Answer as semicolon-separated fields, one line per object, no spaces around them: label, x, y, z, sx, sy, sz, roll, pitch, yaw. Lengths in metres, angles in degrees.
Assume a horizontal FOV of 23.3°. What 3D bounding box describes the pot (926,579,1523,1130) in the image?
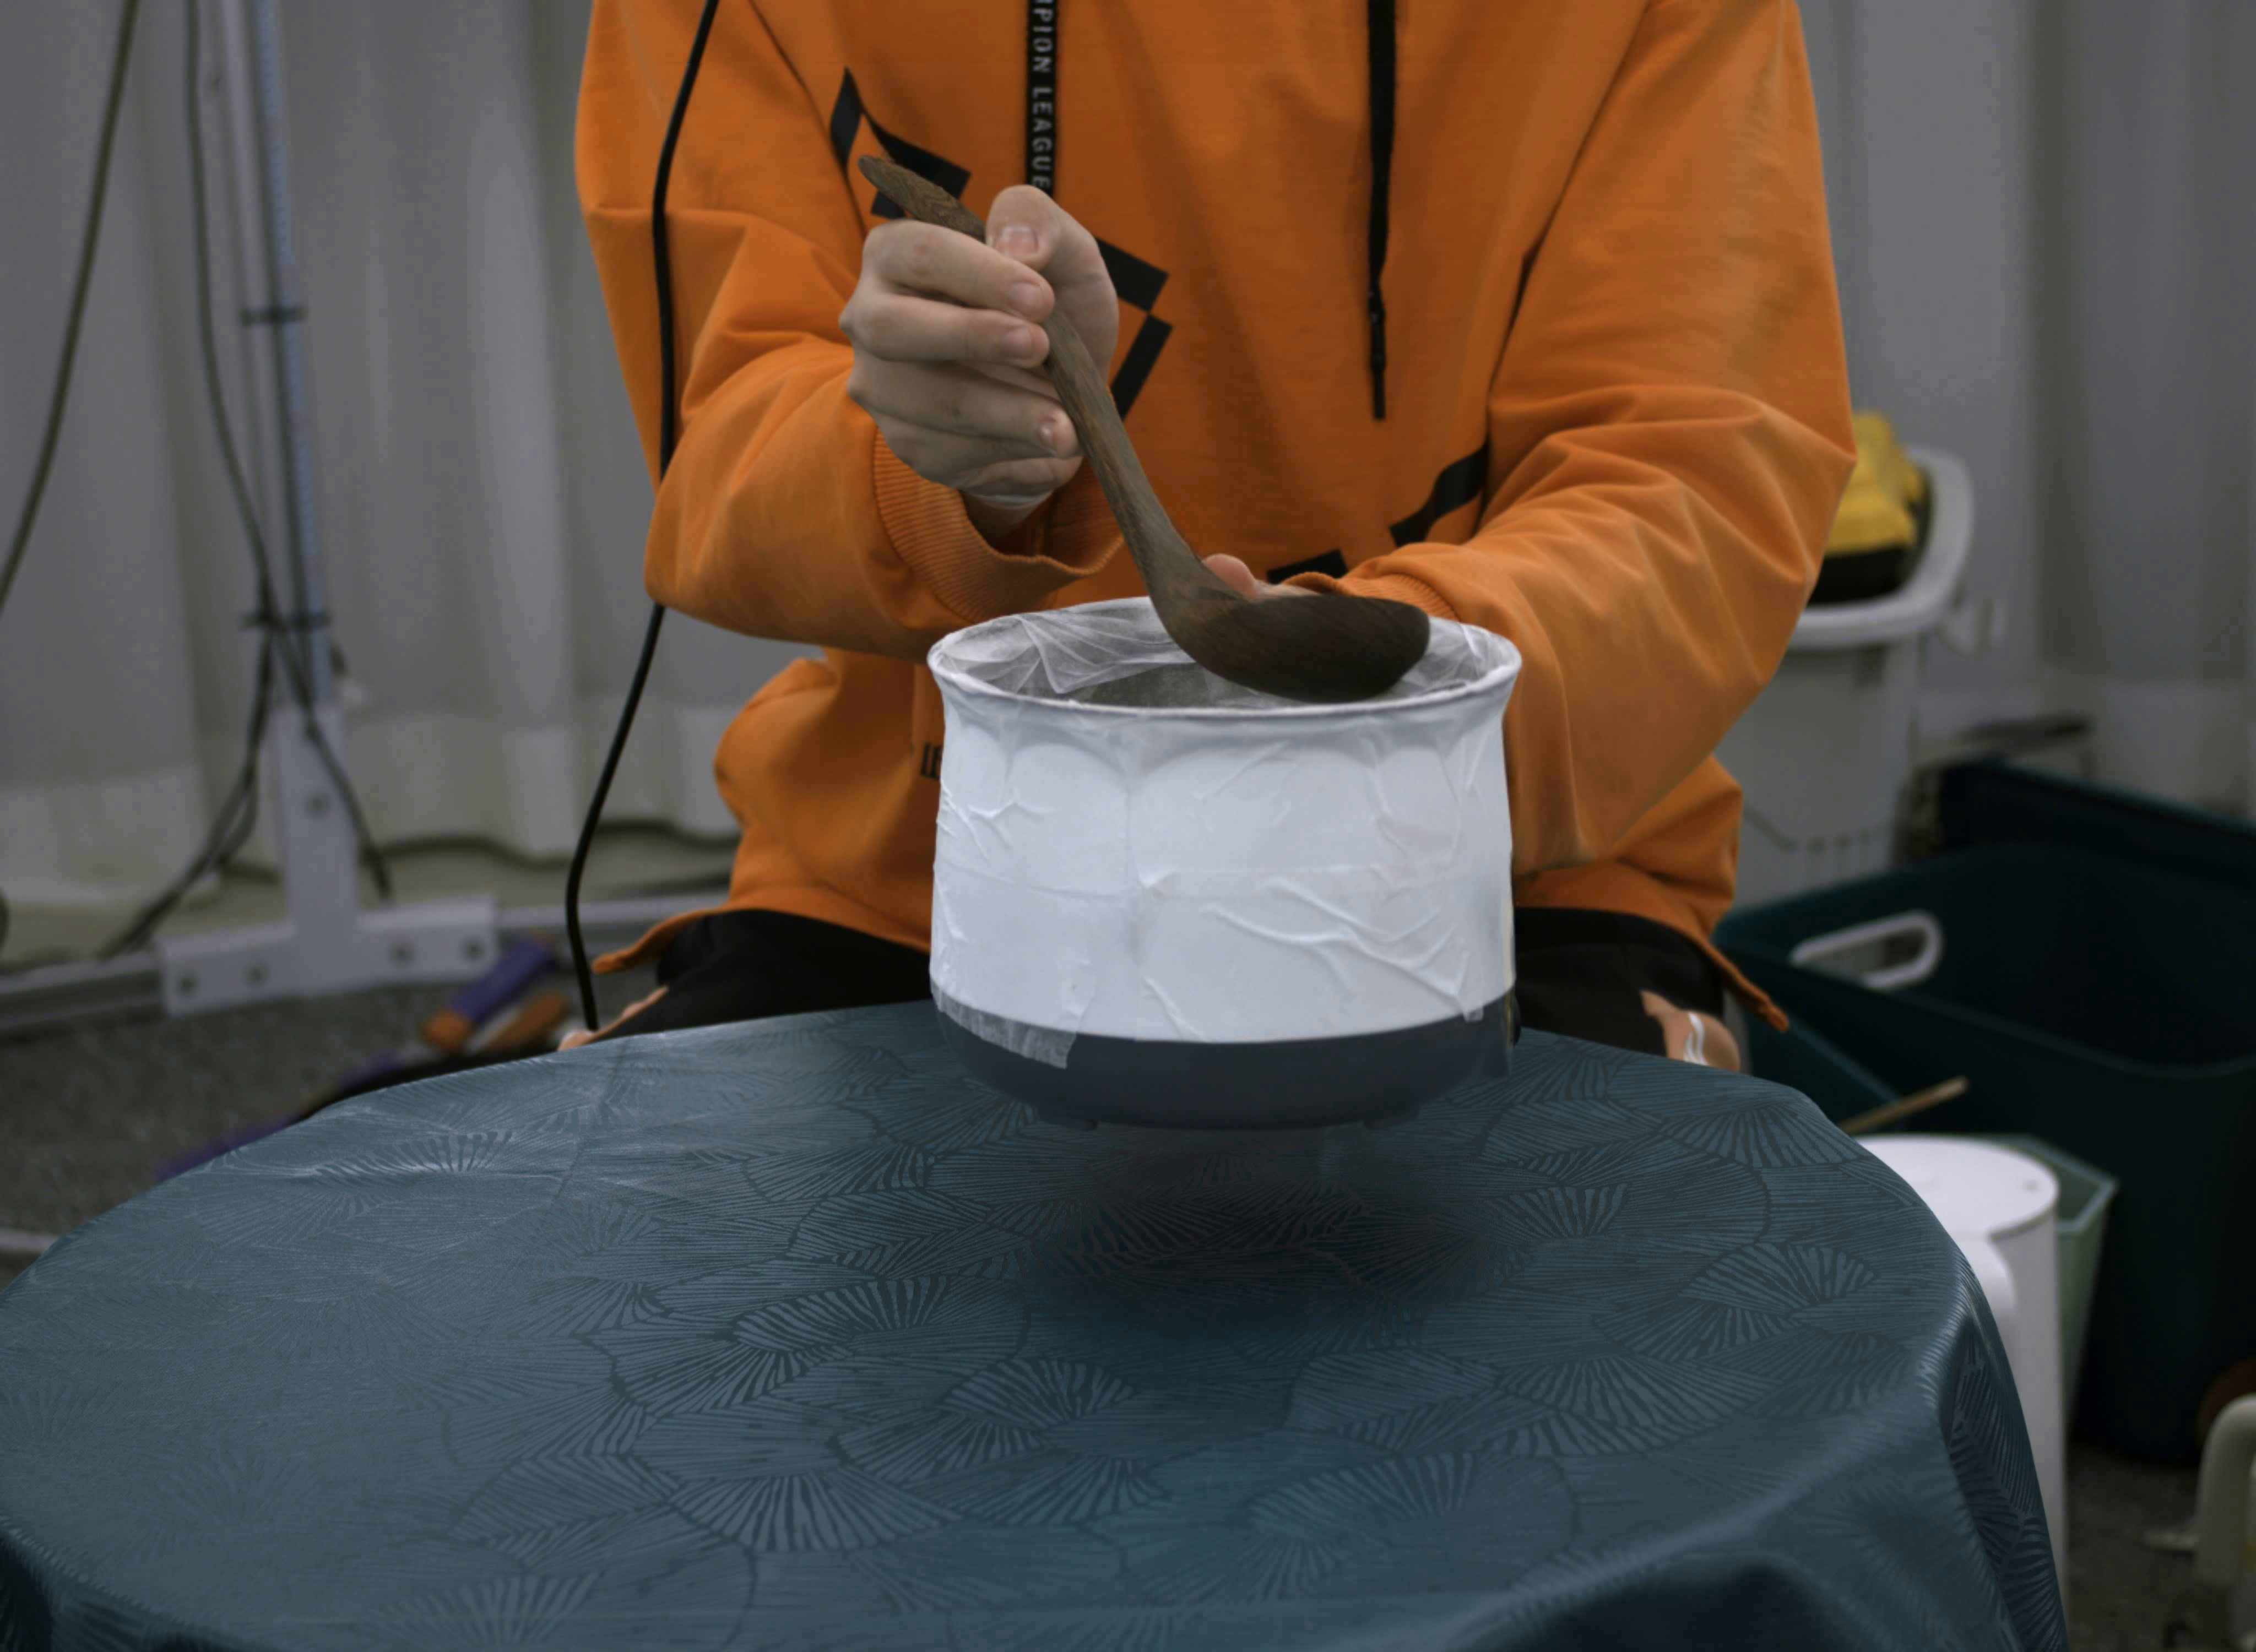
pot;0.027;0.005;1.661;0.178;0.136;0.235;-1;12;-3

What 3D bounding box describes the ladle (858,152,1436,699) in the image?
ladle;0.003;-0.136;1.686;0.075;0.071;0.278;20;31;-52
